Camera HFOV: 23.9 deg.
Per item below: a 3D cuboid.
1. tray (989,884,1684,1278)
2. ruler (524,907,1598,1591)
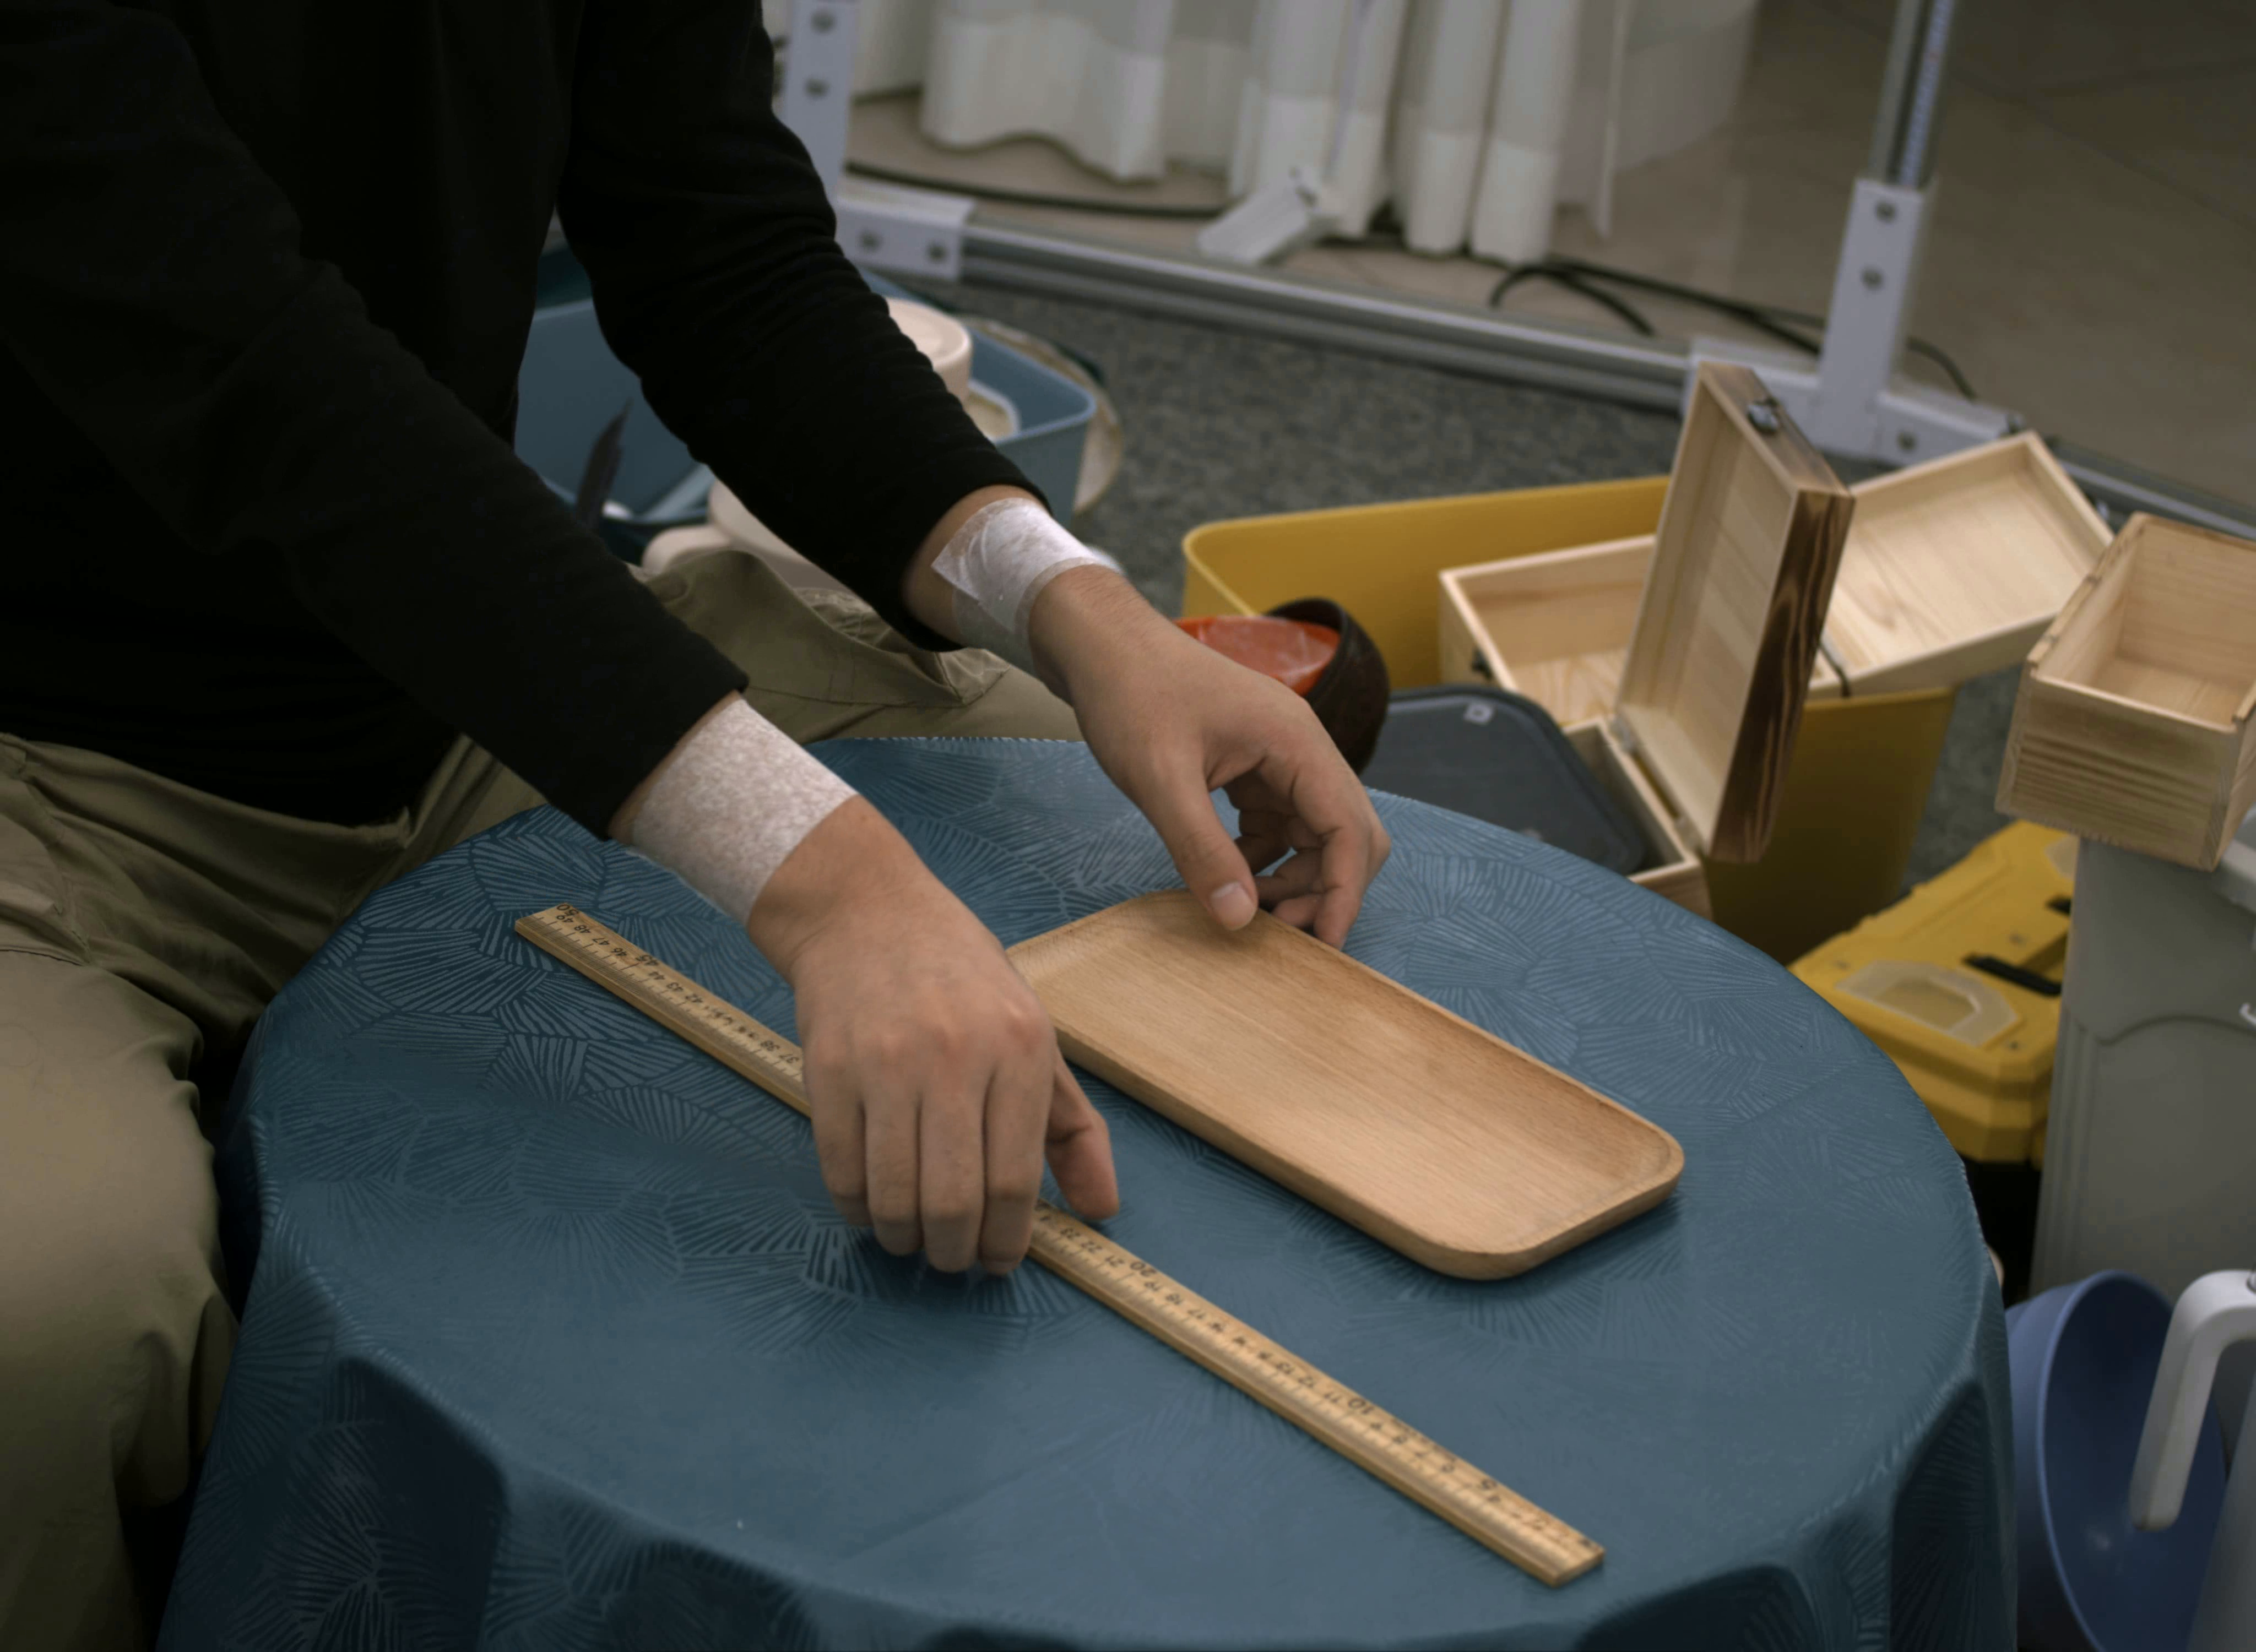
[{"bbox_3d":[0.070,0.087,1.871,0.130,0.023,0.252,-17,34,-42],"label":"tray"},{"bbox_3d":[-0.036,0.131,1.775,0.026,0.006,0.504,-16,35,-42],"label":"ruler"}]
